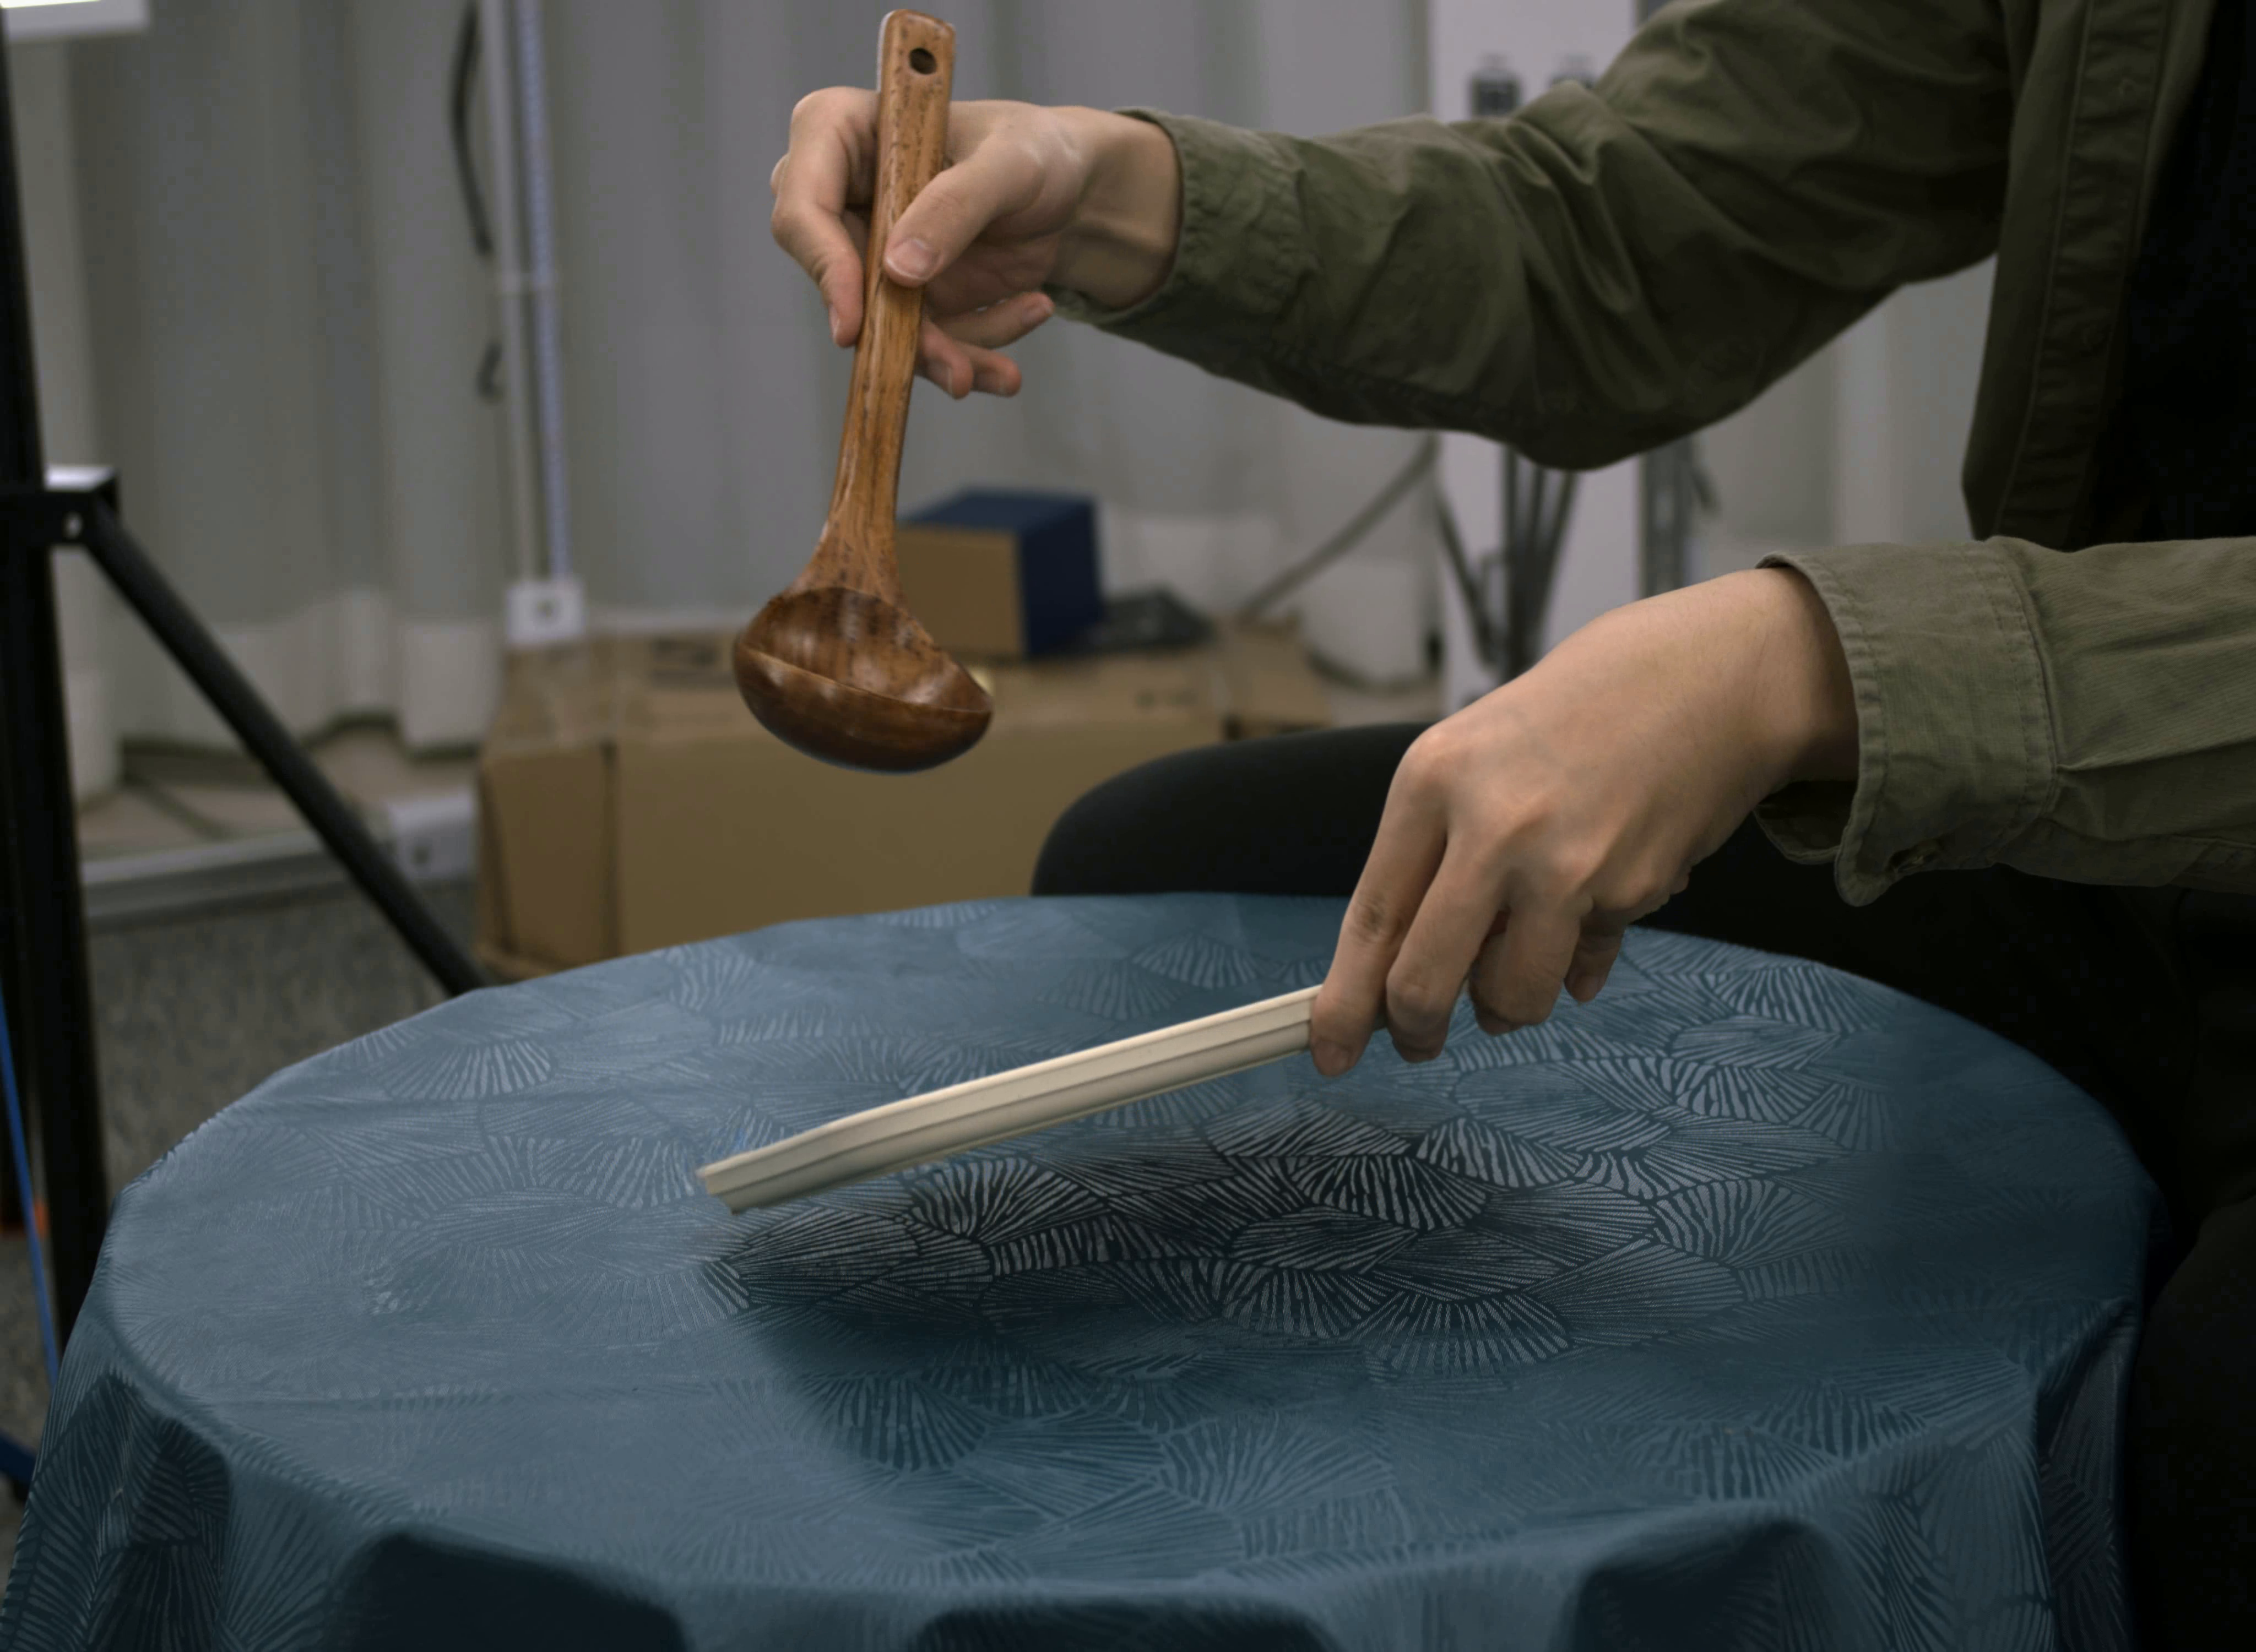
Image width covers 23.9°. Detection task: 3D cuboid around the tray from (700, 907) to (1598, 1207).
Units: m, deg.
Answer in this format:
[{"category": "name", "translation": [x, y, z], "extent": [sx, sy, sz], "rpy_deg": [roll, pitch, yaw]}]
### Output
[{"category": "tray", "translation": [0.007, 0.068, 1.509], "extent": [0.235, 0.017, 0.173], "rpy_deg": [-15, -3, -22]}]

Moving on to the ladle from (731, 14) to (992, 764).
[{"category": "ladle", "translation": [-0.066, -0.143, 1.633], "extent": [0.080, 0.276, 0.077], "rpy_deg": [18, -25, -21]}]
